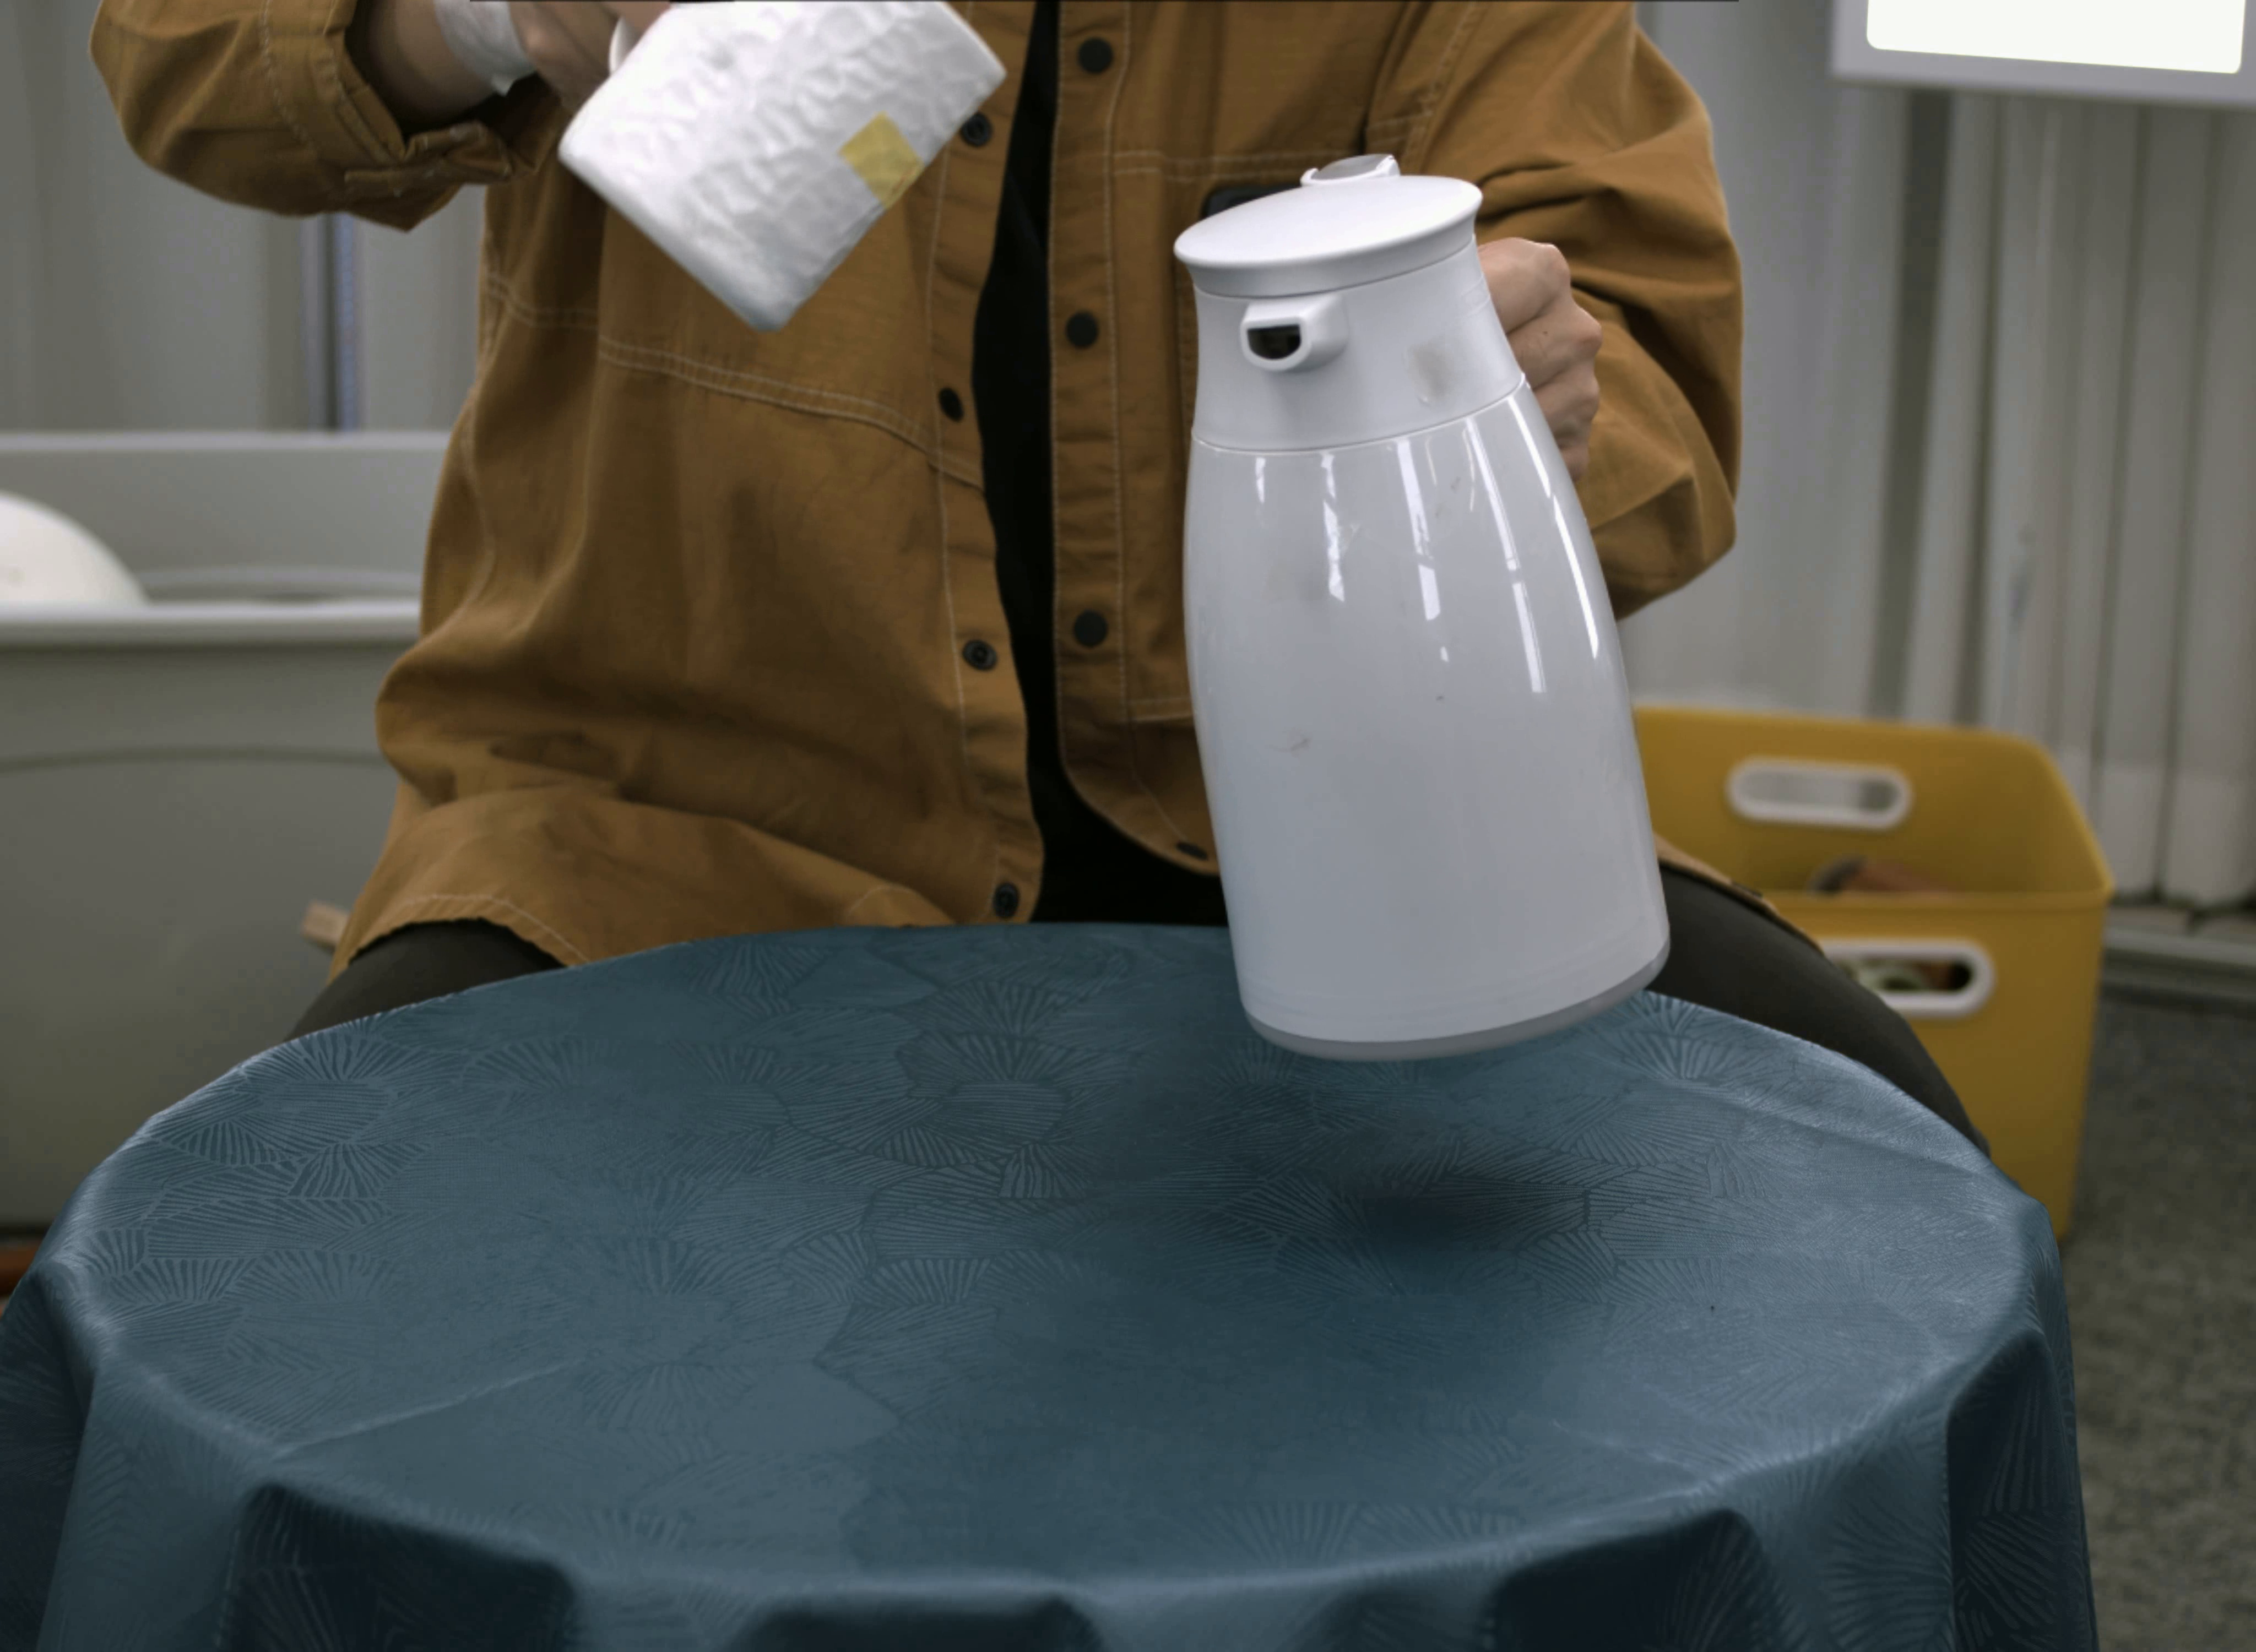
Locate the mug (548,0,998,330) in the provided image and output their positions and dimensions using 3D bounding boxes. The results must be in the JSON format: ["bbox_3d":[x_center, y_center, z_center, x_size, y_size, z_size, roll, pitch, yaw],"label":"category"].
[{"bbox_3d":[-0.110,-0.210,1.487,0.116,0.102,0.086,40,0,41],"label":"mug"}]

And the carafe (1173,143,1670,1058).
[{"bbox_3d":[0.083,-0.076,1.581,0.131,0.251,0.167,-5,19,19],"label":"carafe"}]
